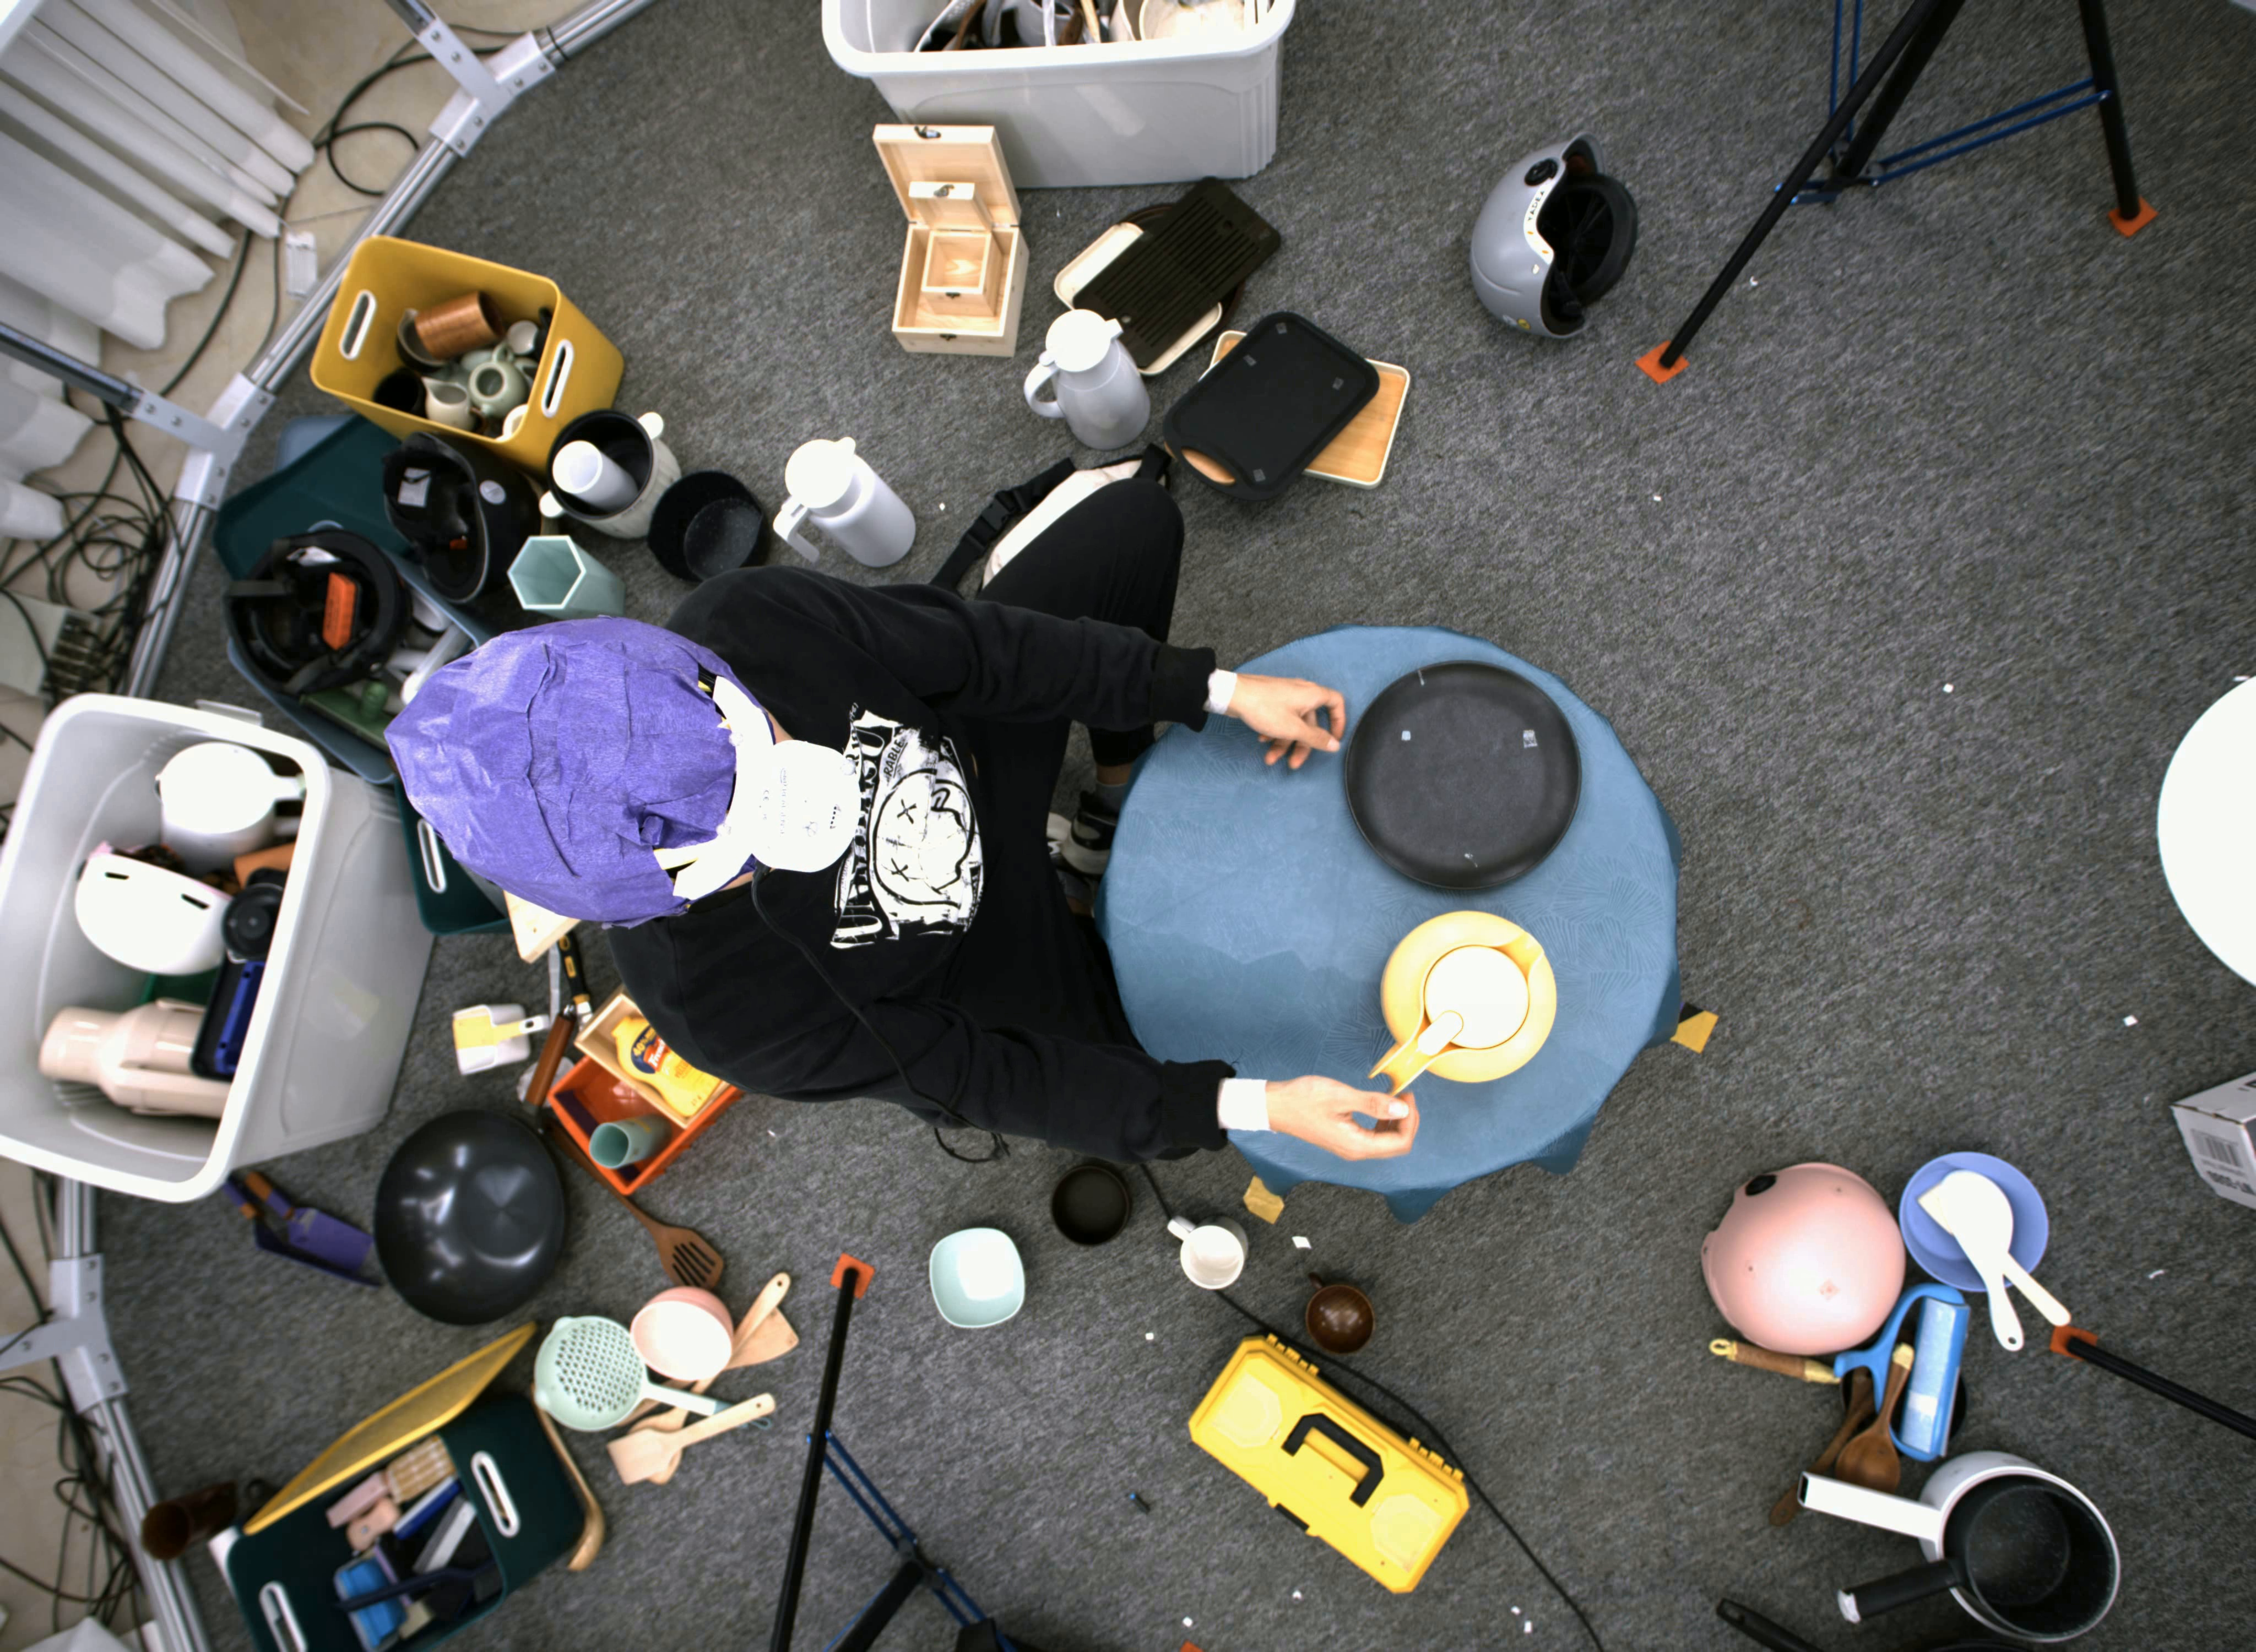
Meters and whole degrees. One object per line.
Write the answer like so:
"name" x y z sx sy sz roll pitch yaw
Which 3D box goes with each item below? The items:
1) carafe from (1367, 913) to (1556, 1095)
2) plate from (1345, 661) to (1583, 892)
"carafe" 0.308 0.174 1.316 0.203 0.261 0.162 -42 77 3
"plate" 0.350 -0.054 1.440 0.245 0.023 0.243 -1 87 11
